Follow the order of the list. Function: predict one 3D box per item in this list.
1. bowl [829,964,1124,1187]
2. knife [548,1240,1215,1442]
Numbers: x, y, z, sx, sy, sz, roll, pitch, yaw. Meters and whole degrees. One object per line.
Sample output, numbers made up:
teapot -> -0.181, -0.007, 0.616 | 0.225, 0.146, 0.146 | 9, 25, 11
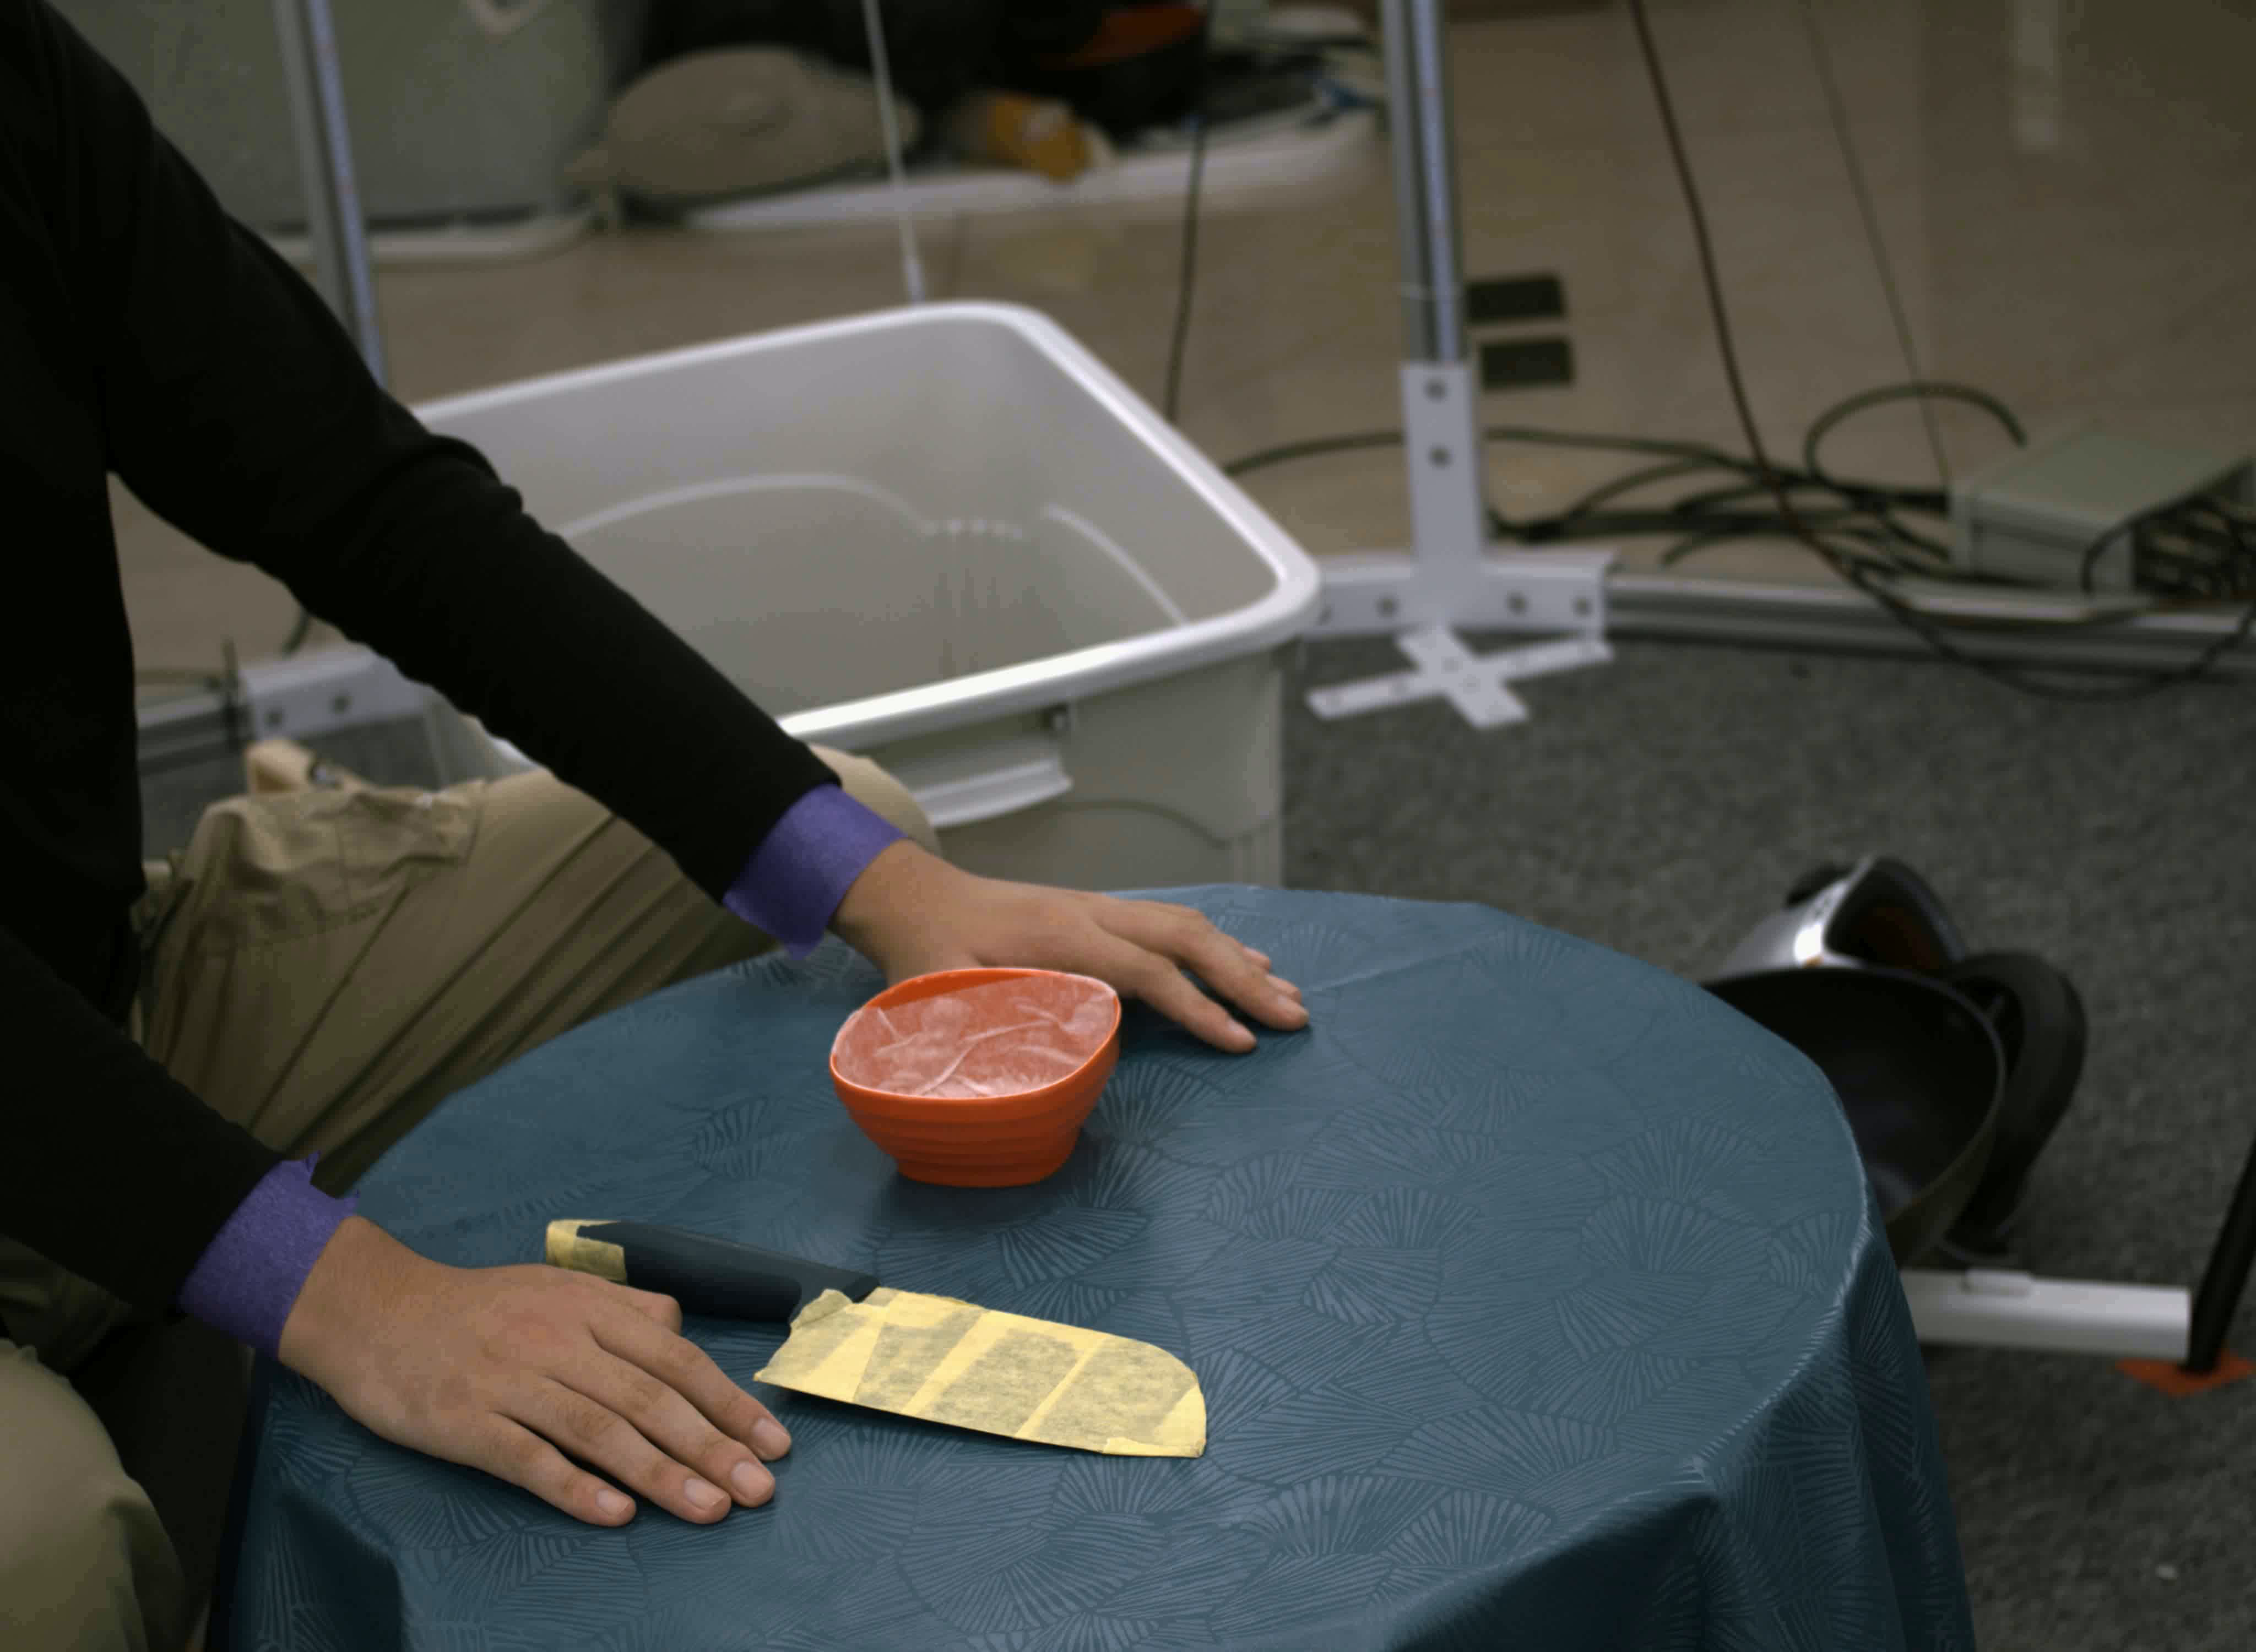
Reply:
bowl -> -0.056, 0.100, 2.184 | 0.119, 0.052, 0.117 | -5, 27, 2
knife -> -0.096, 0.187, 2.054 | 0.288, 0.027, 0.080 | 9, 28, 28
